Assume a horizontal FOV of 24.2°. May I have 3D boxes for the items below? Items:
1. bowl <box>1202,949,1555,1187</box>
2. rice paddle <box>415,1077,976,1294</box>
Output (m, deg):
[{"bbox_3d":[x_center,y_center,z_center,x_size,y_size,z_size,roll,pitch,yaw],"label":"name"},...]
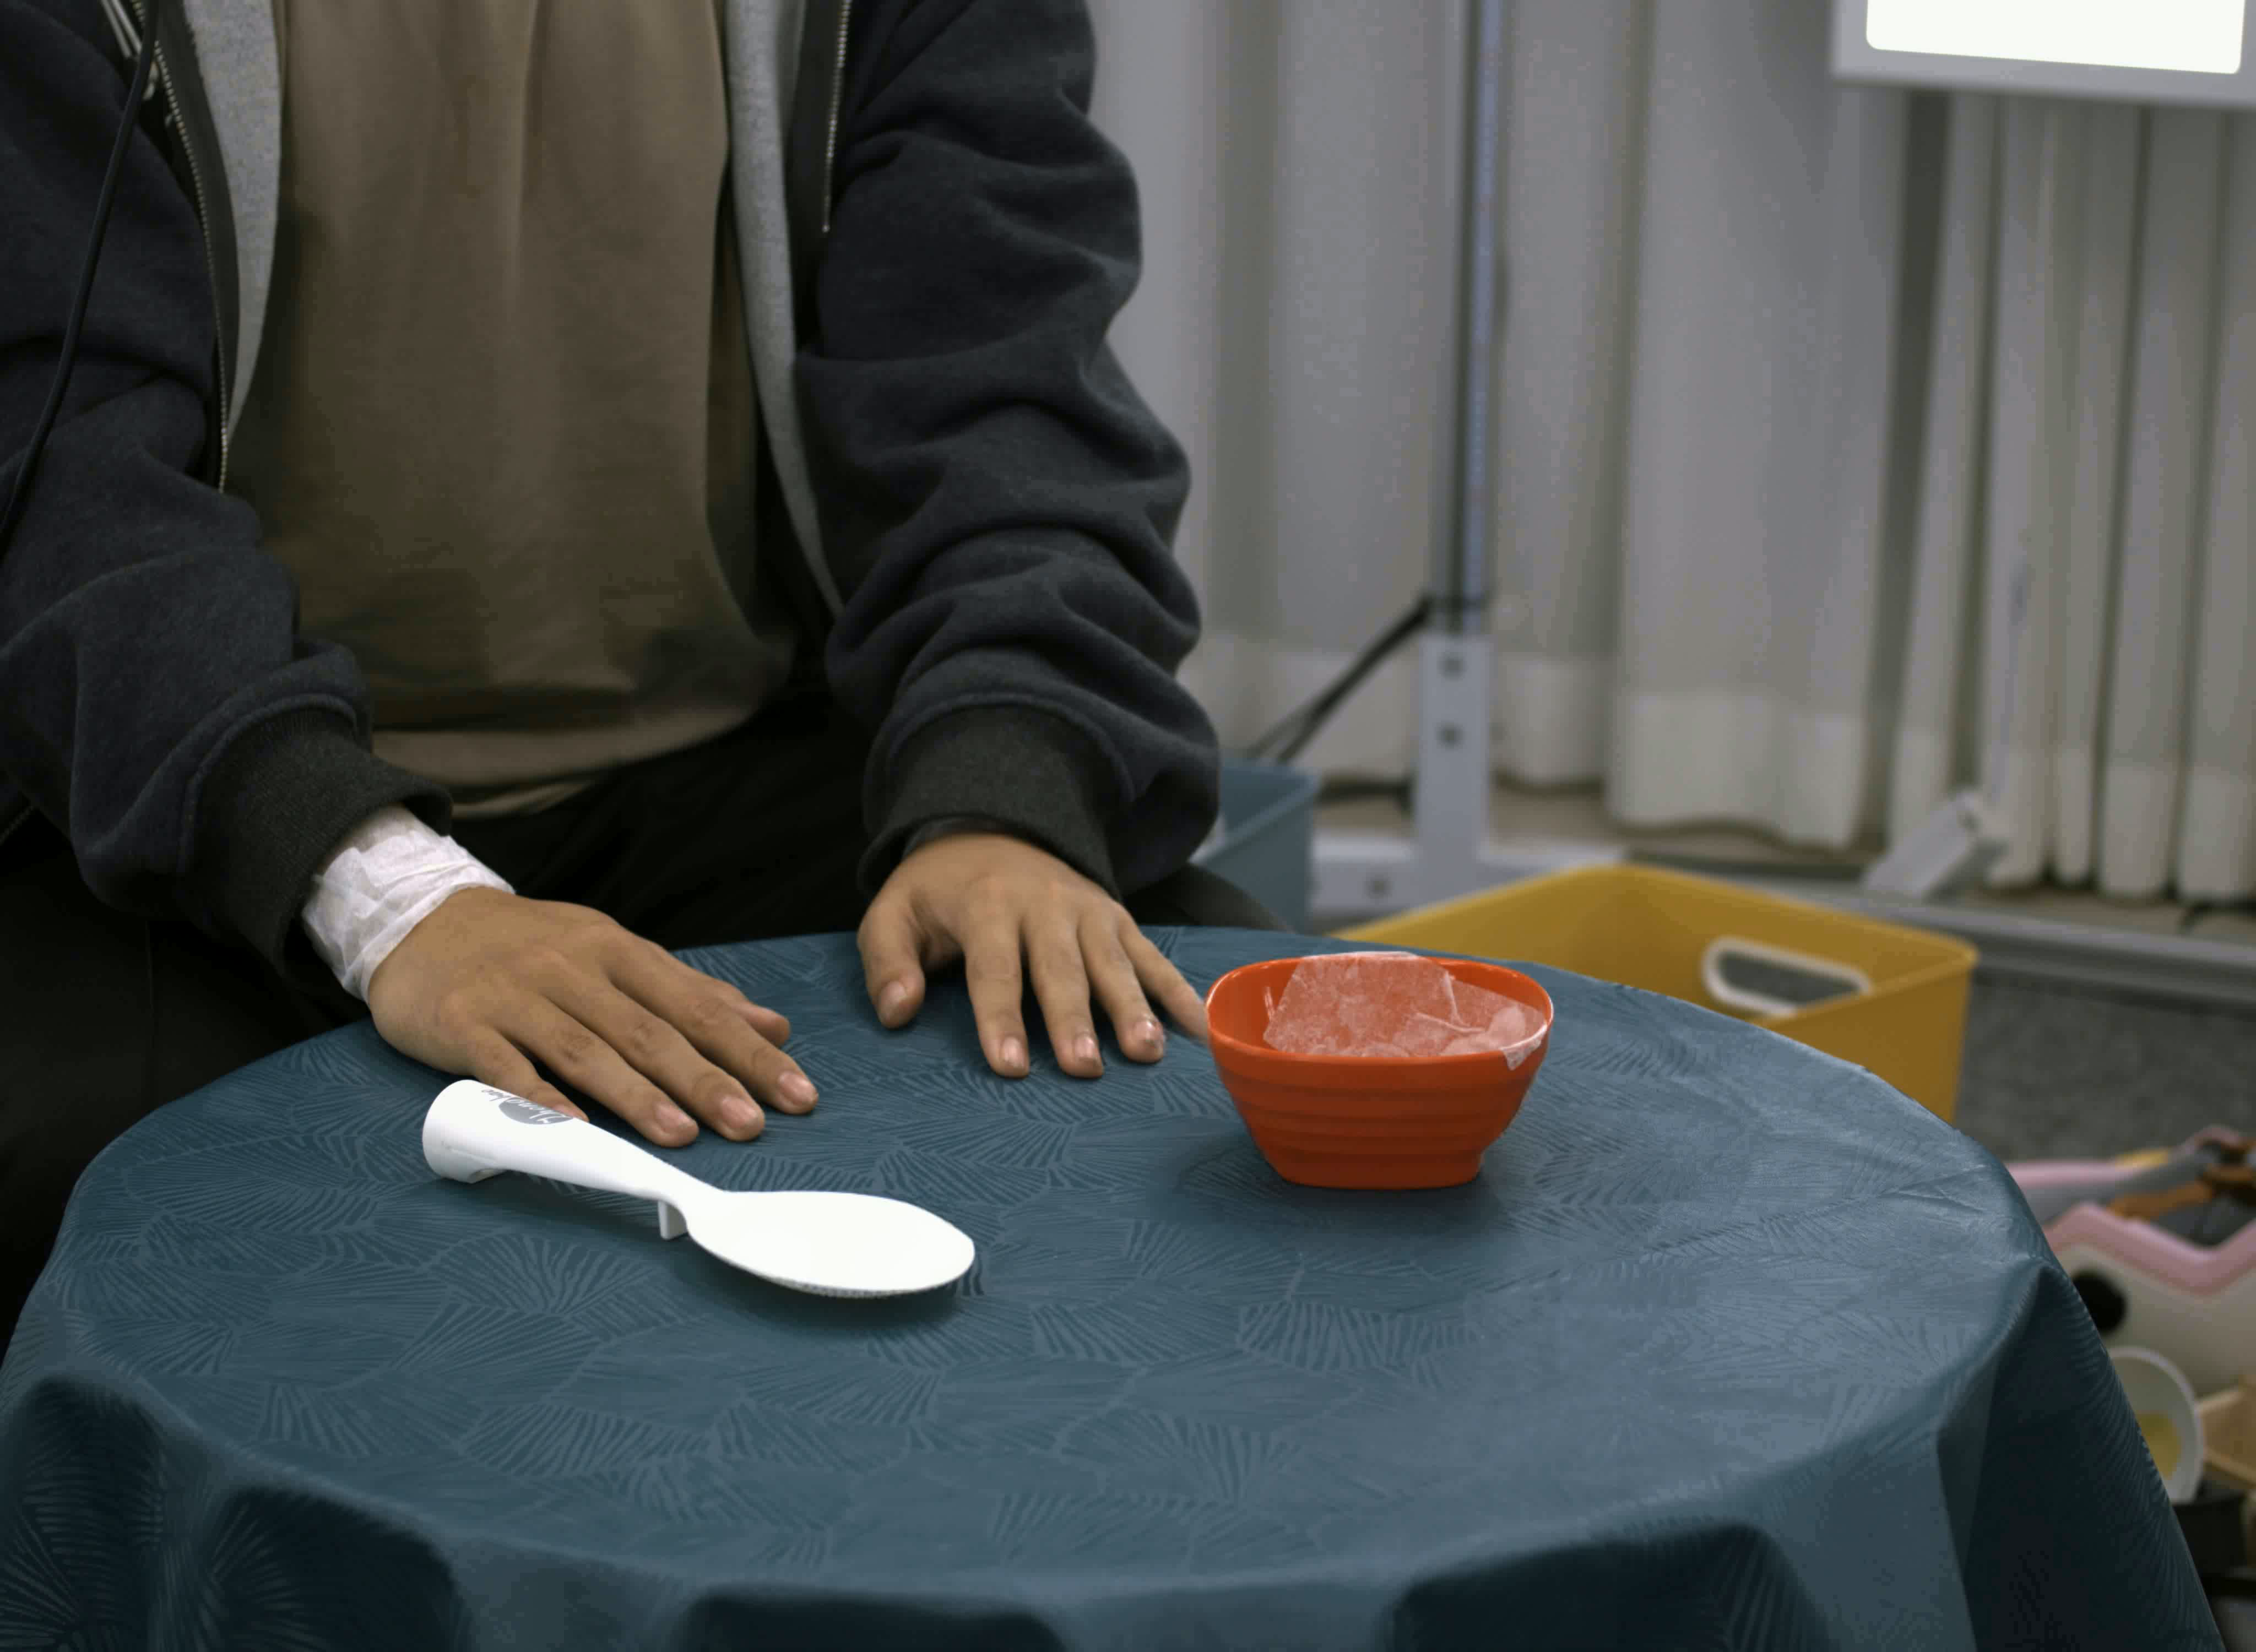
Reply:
[{"bbox_3d":[0.078,0.078,1.649,0.118,0.052,0.118,1,17,0],"label":"bowl"},{"bbox_3d":[-0.130,0.109,1.573,0.202,0.029,0.069,12,21,36],"label":"rice paddle"}]
